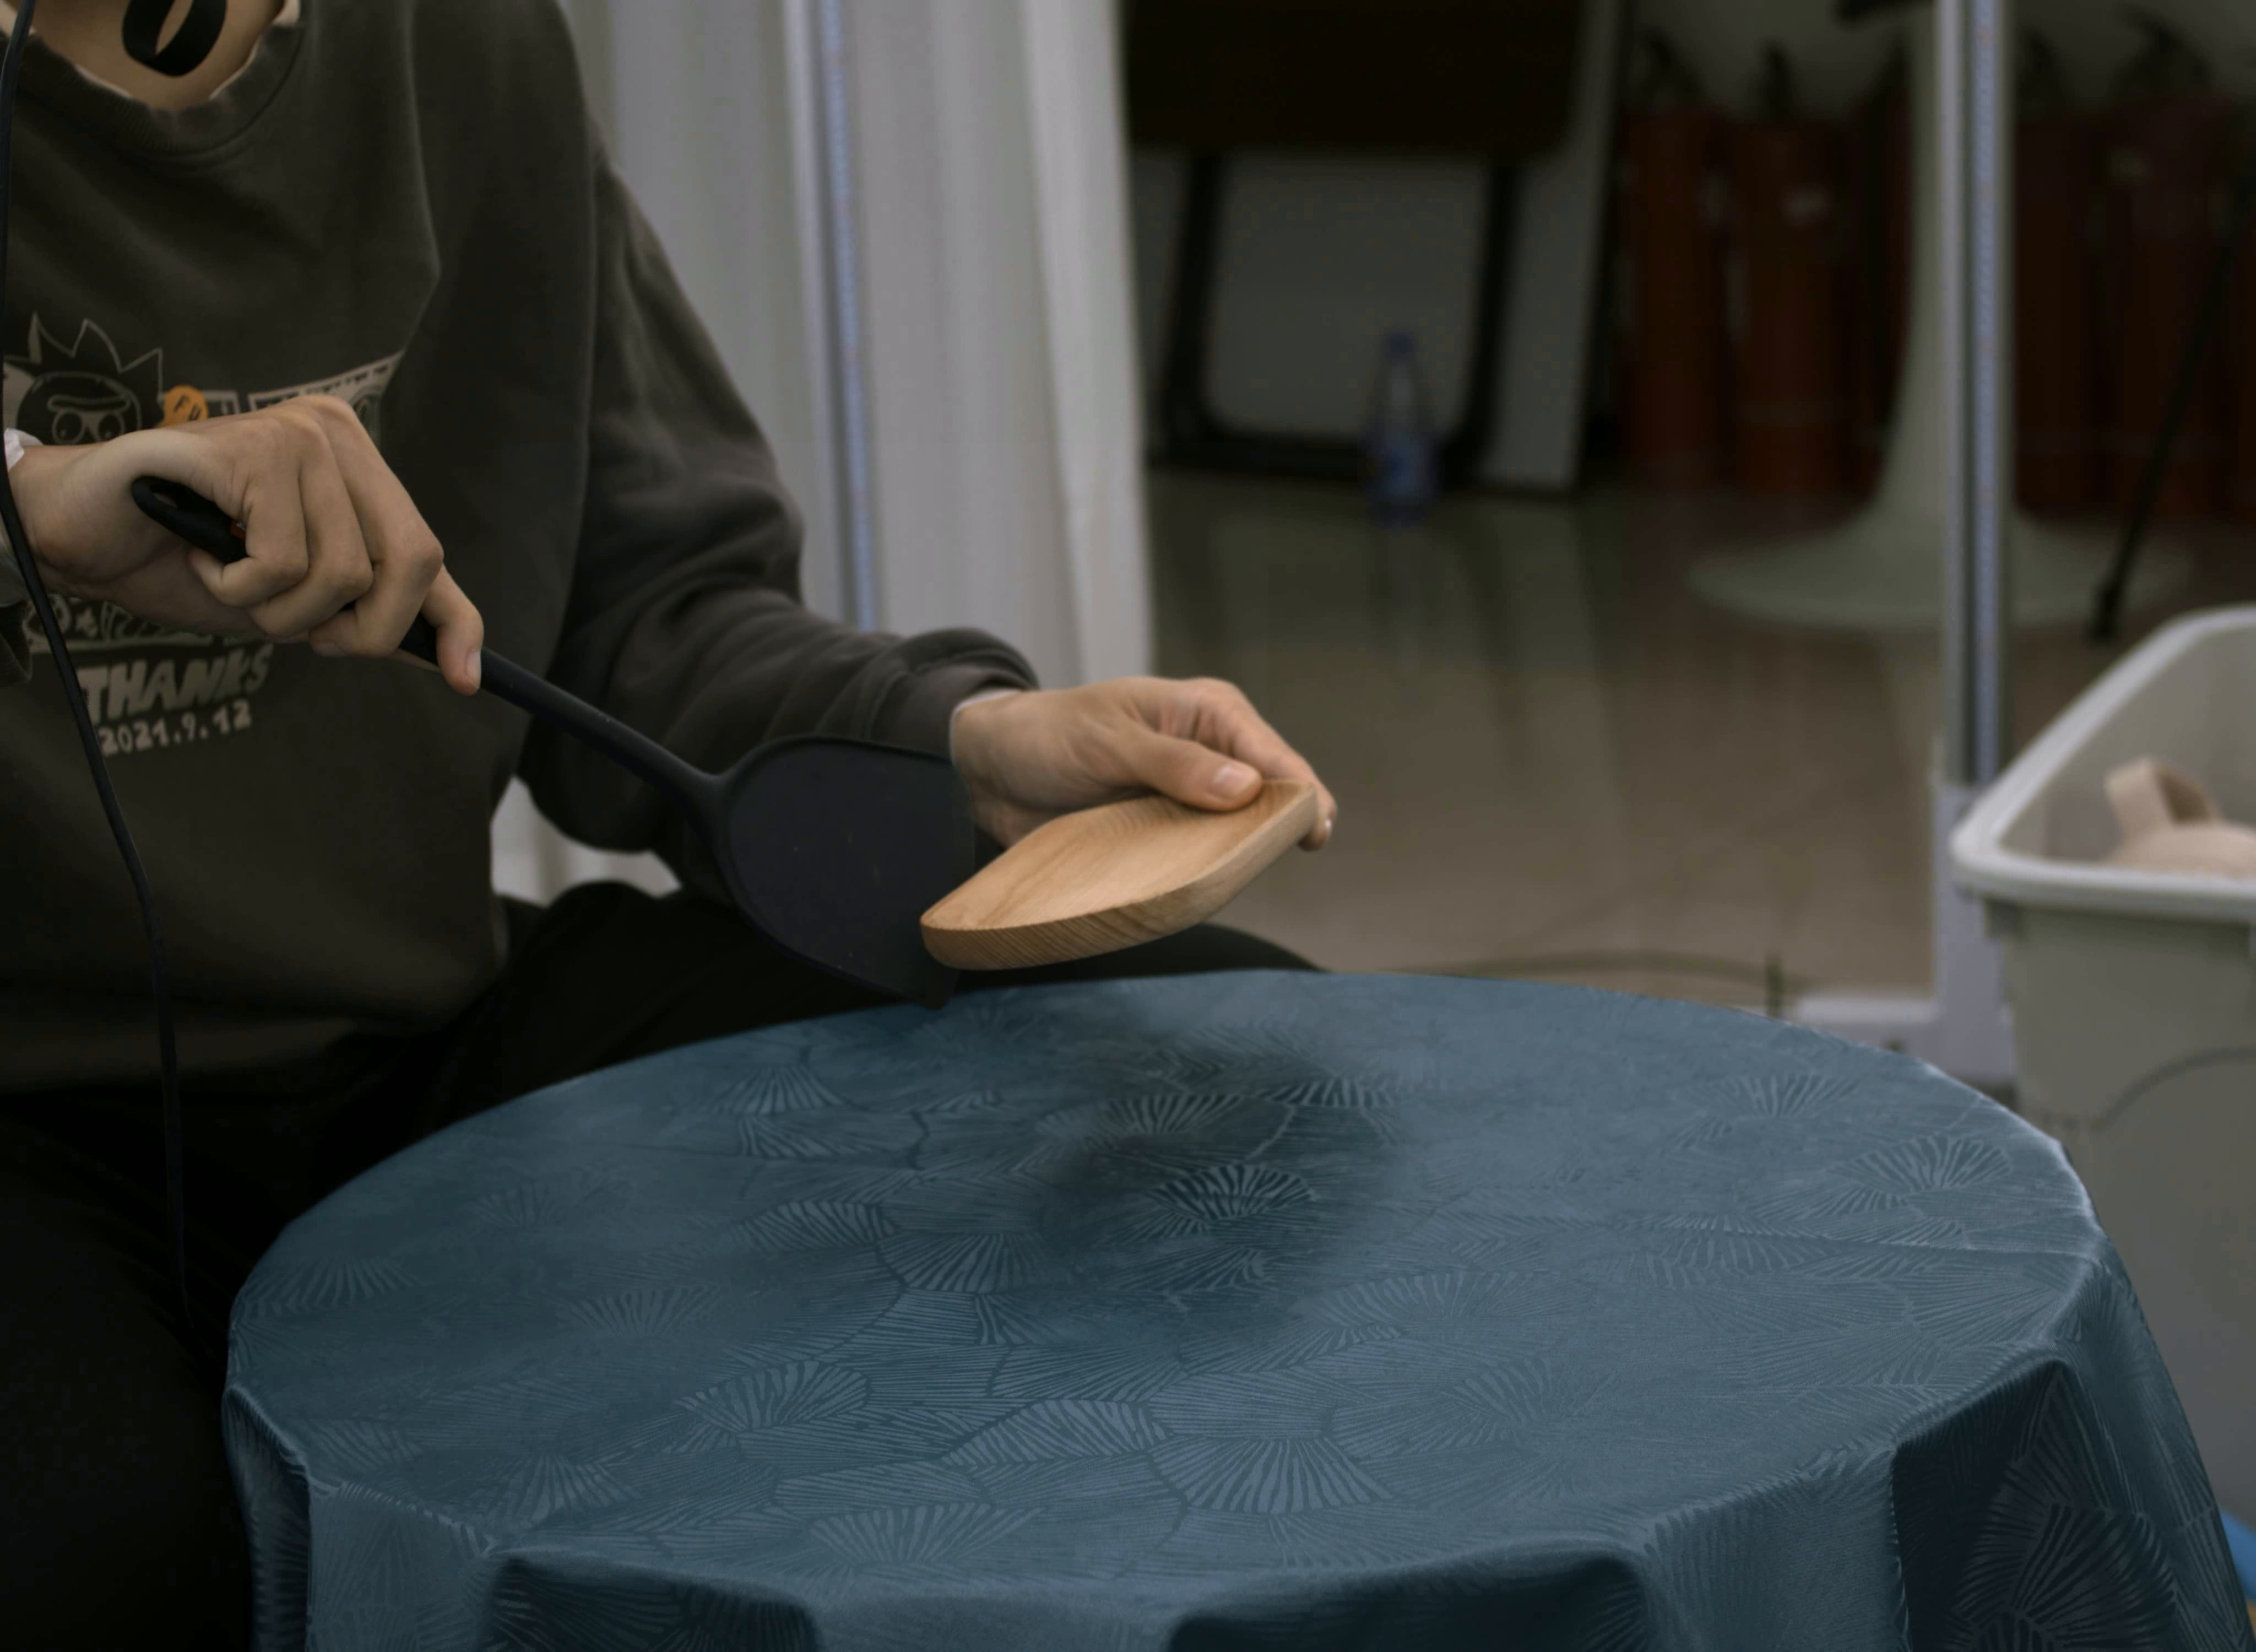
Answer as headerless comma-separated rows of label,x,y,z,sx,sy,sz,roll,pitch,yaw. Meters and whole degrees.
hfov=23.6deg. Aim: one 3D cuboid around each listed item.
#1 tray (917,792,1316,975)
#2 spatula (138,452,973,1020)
tray,-0.001,0.018,1.784,0.101,0.020,0.229,-10,9,17
spatula,-0.175,-0.040,1.708,0.040,0.100,0.321,-27,-46,36
